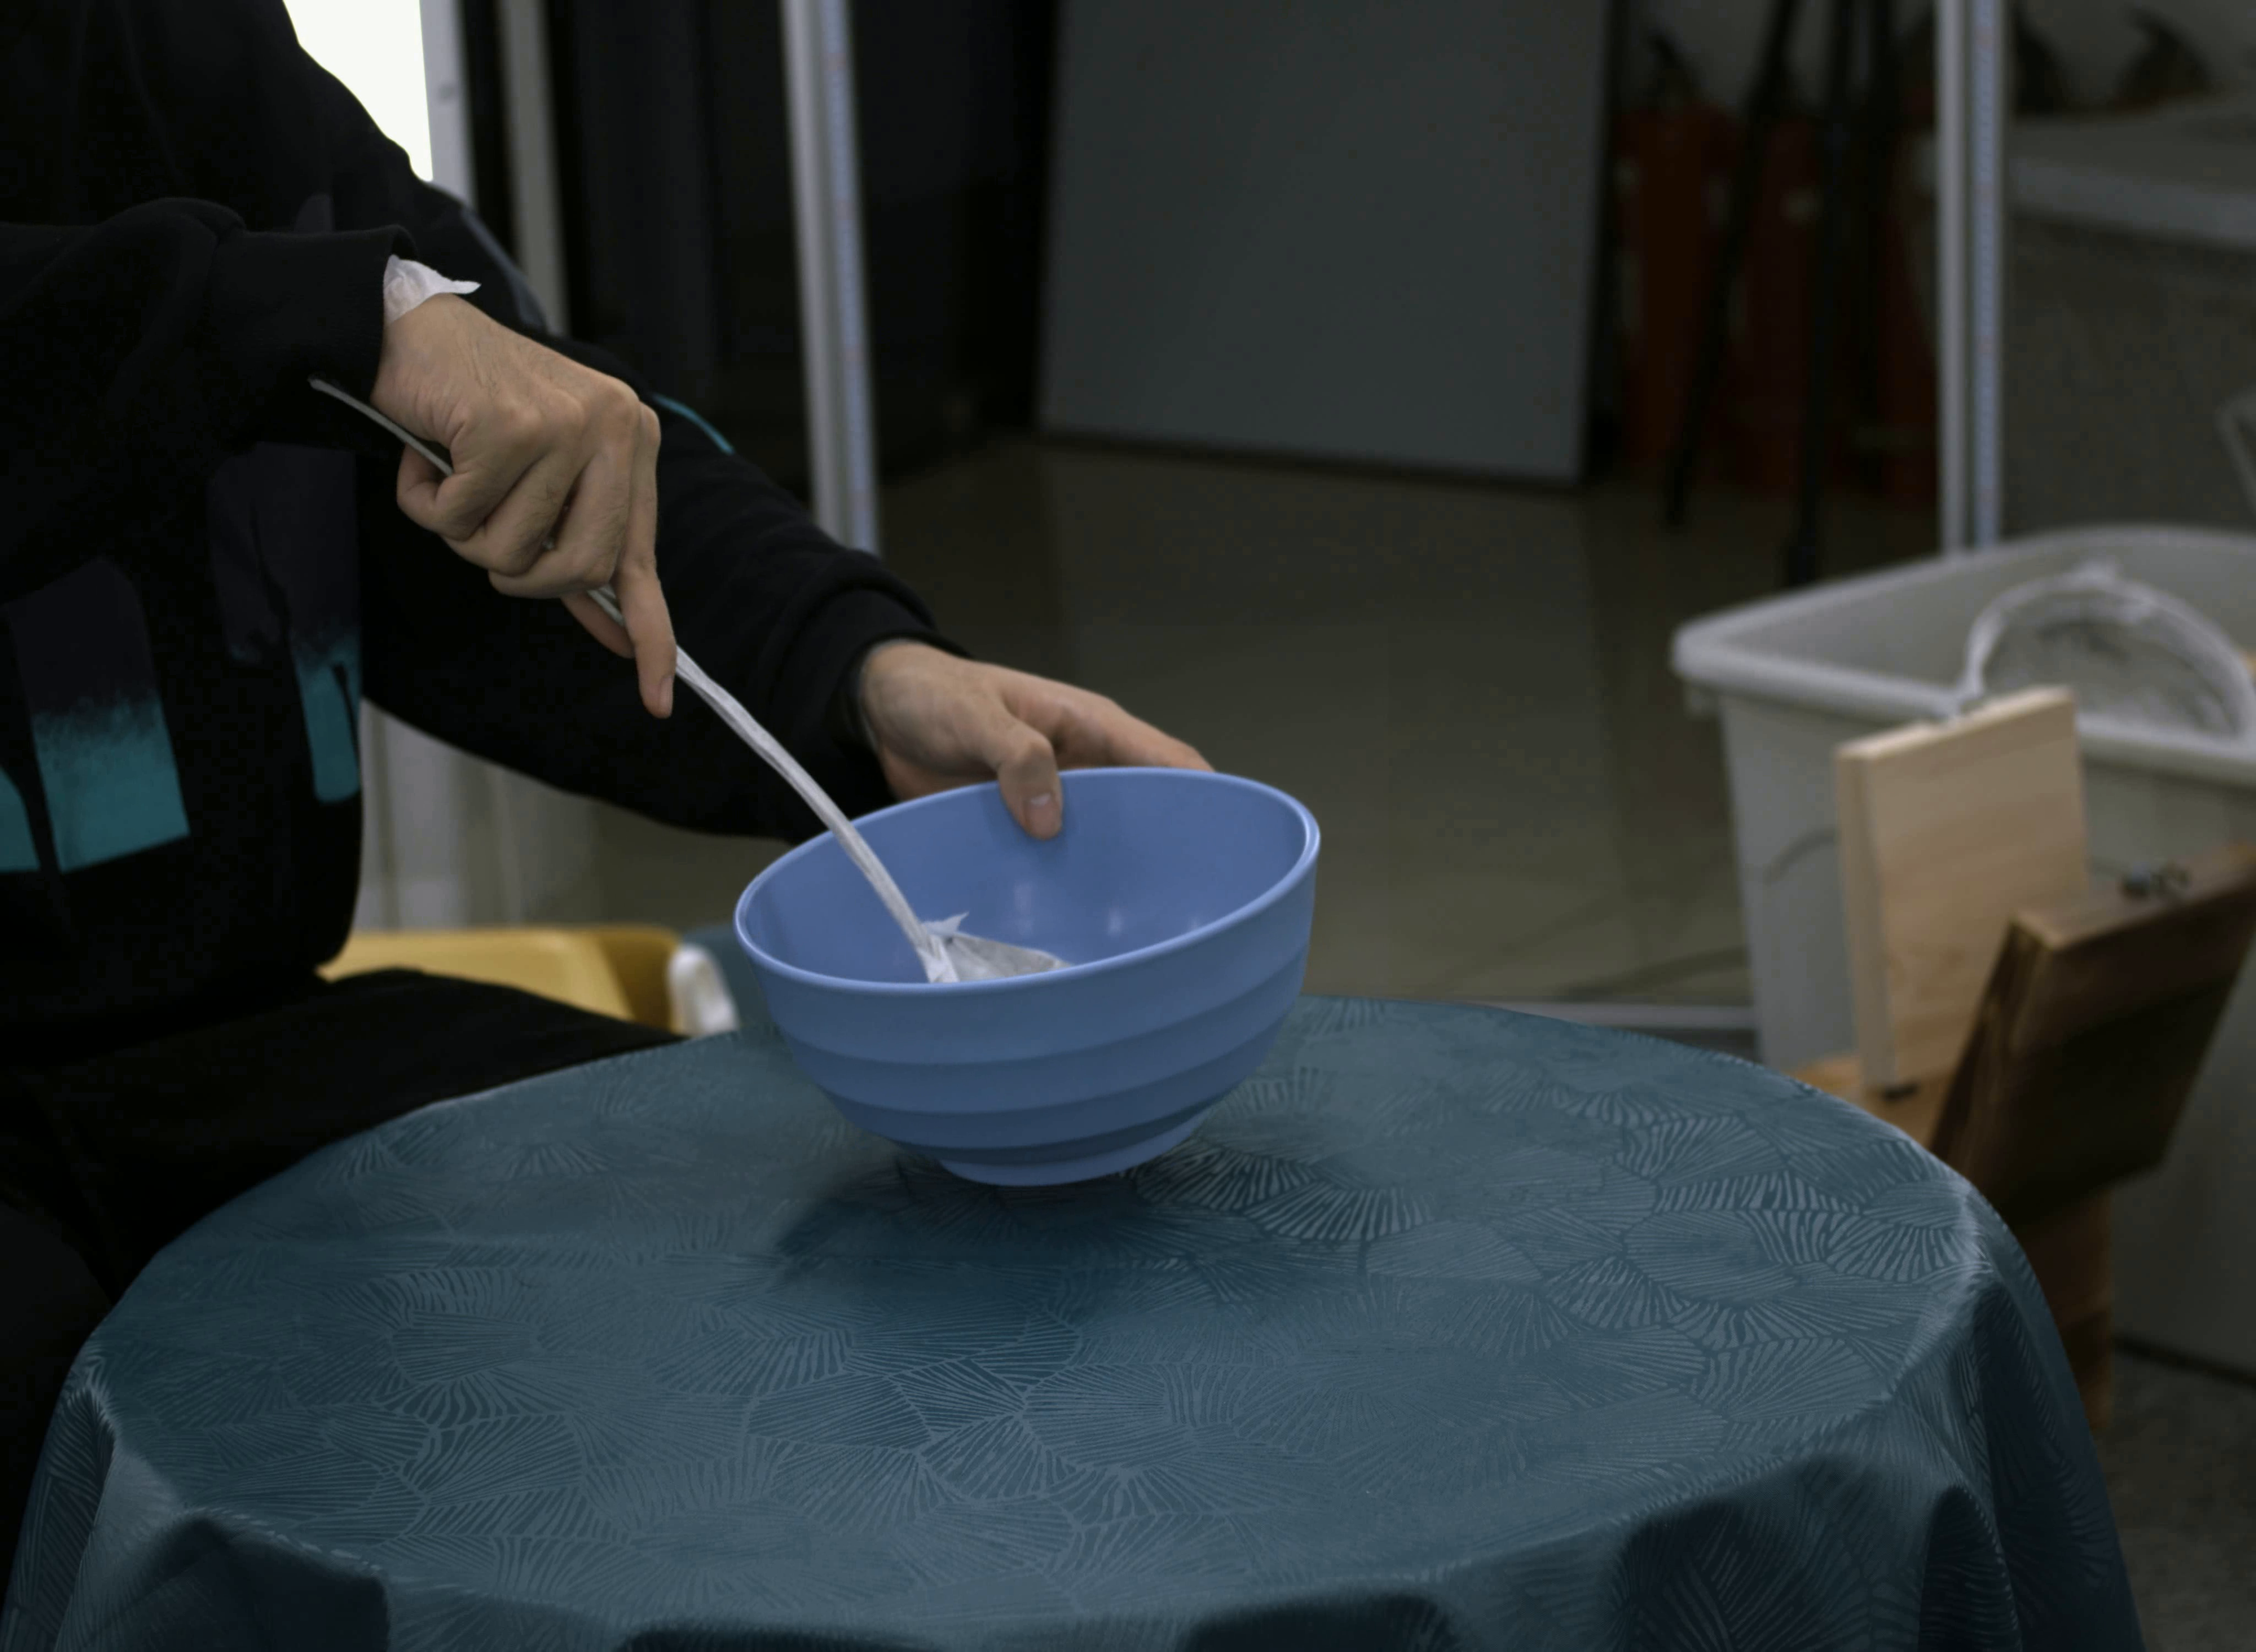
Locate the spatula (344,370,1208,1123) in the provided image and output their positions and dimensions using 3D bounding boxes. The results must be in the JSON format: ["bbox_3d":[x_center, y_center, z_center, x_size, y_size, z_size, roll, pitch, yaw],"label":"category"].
[{"bbox_3d":[-0.113,-0.028,1.754,0.045,0.364,0.098,-42,8,19],"label":"spatula"}]

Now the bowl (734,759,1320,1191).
[{"bbox_3d":[-0.027,0.058,1.779,0.194,0.096,0.197,-9,20,2],"label":"bowl"}]
